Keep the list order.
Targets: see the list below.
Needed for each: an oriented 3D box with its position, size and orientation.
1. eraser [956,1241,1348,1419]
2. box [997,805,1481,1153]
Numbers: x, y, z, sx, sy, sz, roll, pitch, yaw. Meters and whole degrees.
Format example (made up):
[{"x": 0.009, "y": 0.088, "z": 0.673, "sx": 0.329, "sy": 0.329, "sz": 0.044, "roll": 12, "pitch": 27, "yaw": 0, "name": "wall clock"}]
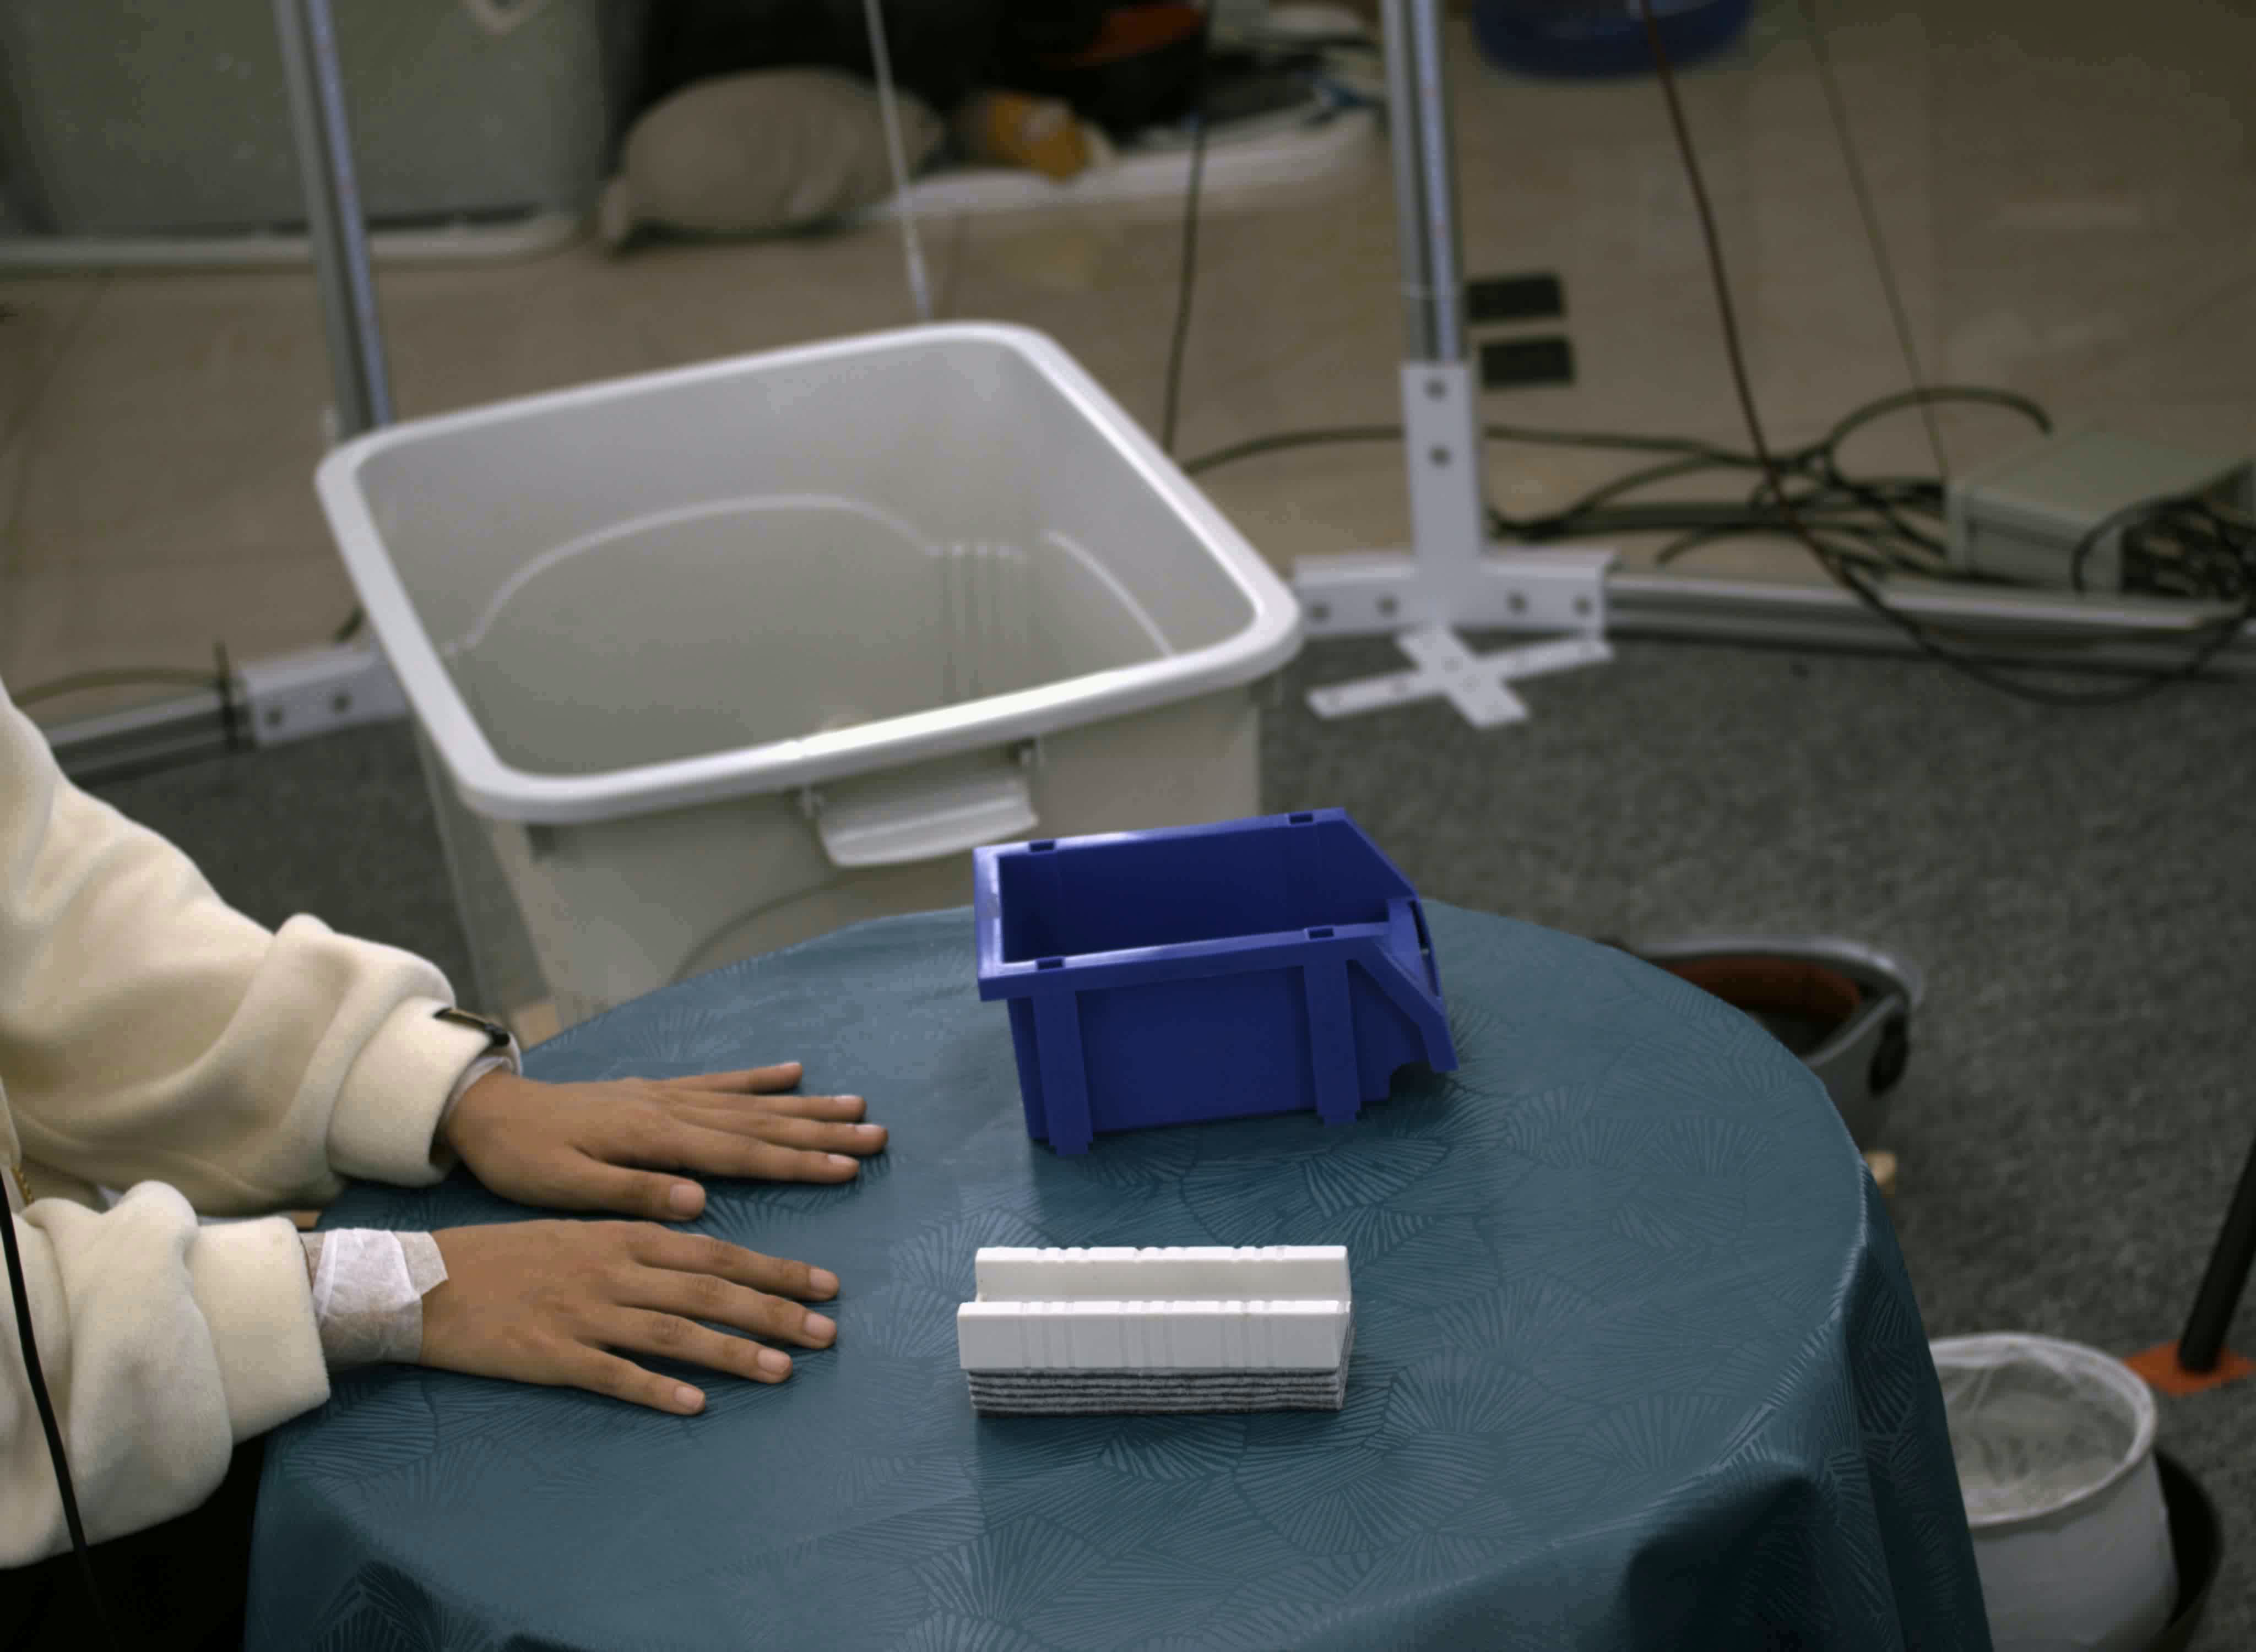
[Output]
[{"x": 0.010, "y": 0.178, "z": 2.004, "sx": 0.134, "sy": 0.047, "sz": 0.049, "roll": -1, "pitch": 28, "yaw": 7, "name": "eraser"}, {"x": 0.043, "y": 0.057, "z": 2.215, "sx": 0.179, "sy": 0.083, "sz": 0.122, "roll": -7, "pitch": 25, "yaw": 3, "name": "box"}]
